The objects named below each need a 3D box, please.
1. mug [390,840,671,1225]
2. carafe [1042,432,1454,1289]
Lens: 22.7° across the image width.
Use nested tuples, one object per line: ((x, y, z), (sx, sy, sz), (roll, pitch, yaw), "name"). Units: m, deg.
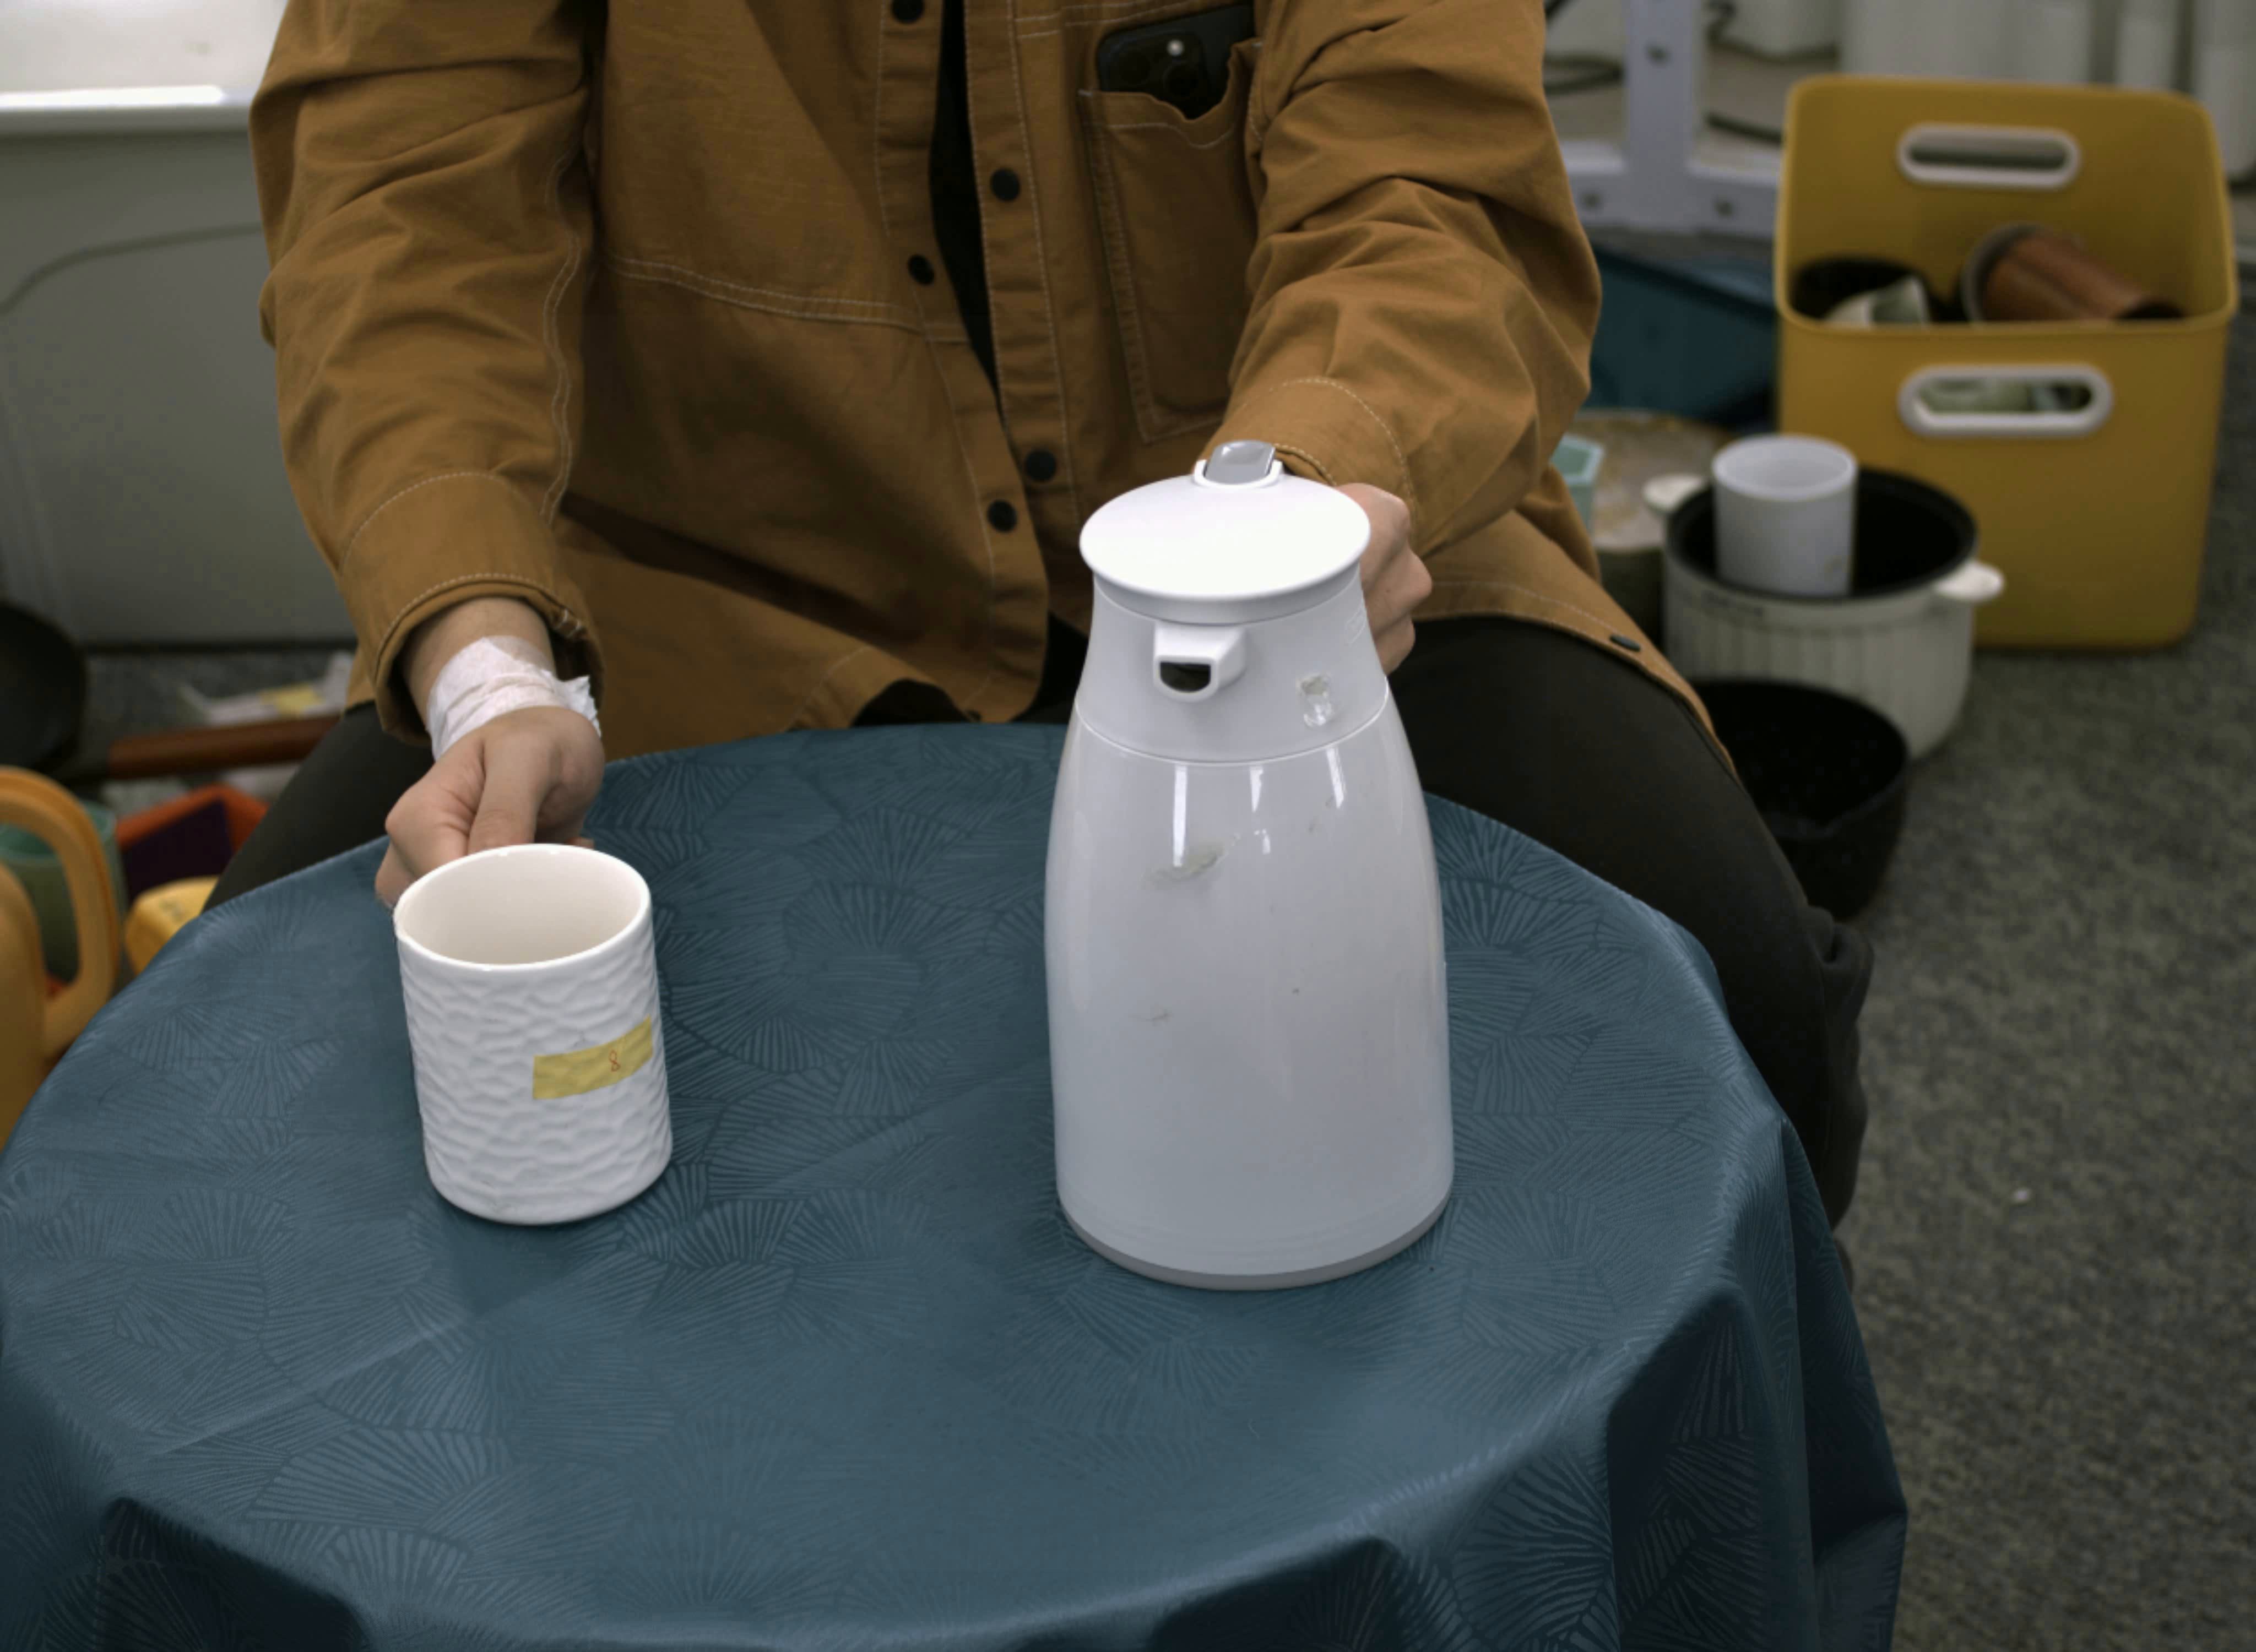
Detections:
((-0.202, 0.063, 1.880), (0.085, 0.101, 0.119), (-11, 28, -14), "mug")
((0.038, 0.001, 1.823), (0.131, 0.246, 0.170), (2, 26, 11), "carafe")
